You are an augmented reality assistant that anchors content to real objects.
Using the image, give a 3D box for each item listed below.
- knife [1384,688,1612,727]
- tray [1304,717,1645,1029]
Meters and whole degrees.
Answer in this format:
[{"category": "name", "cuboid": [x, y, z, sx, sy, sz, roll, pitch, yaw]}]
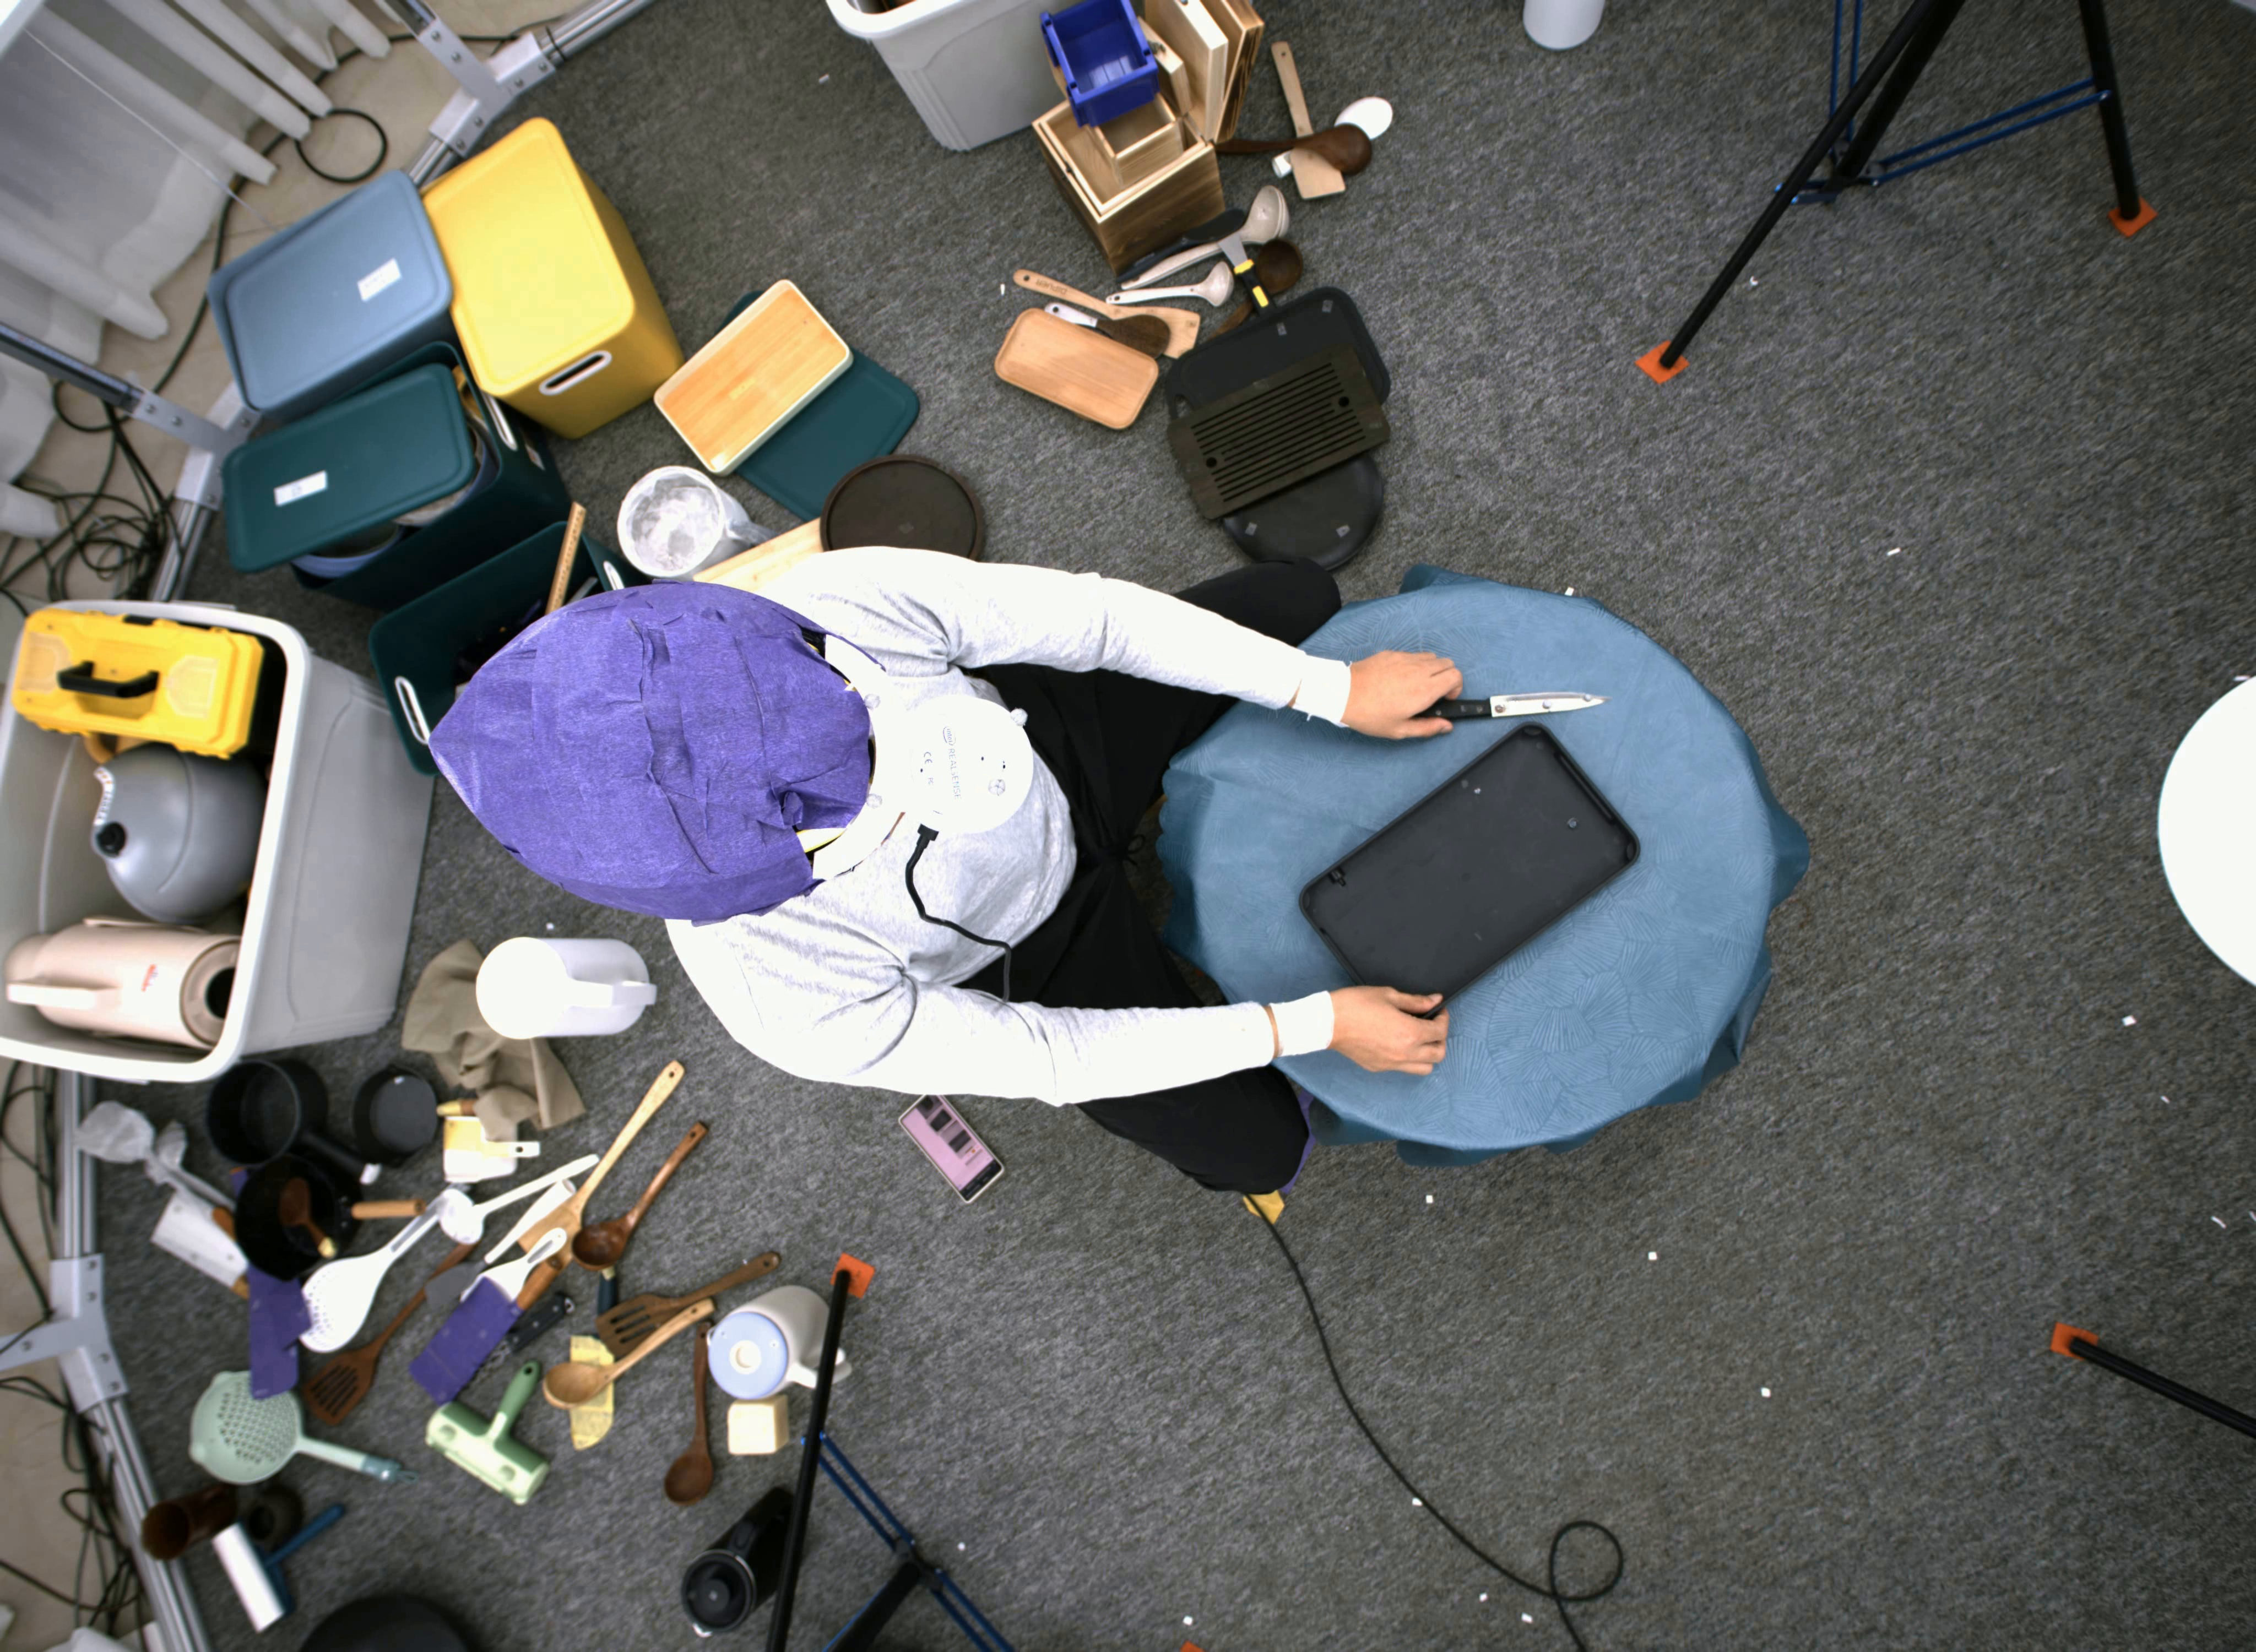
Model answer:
[{"category": "knife", "cuboid": [0.390, -0.128, 1.442, 0.239, 0.016, 0.024, -7, 74, 7]}, {"category": "tray", "cuboid": [0.355, 0.047, 1.425, 0.319, 0.037, 0.183, -39, 80, 6]}]
